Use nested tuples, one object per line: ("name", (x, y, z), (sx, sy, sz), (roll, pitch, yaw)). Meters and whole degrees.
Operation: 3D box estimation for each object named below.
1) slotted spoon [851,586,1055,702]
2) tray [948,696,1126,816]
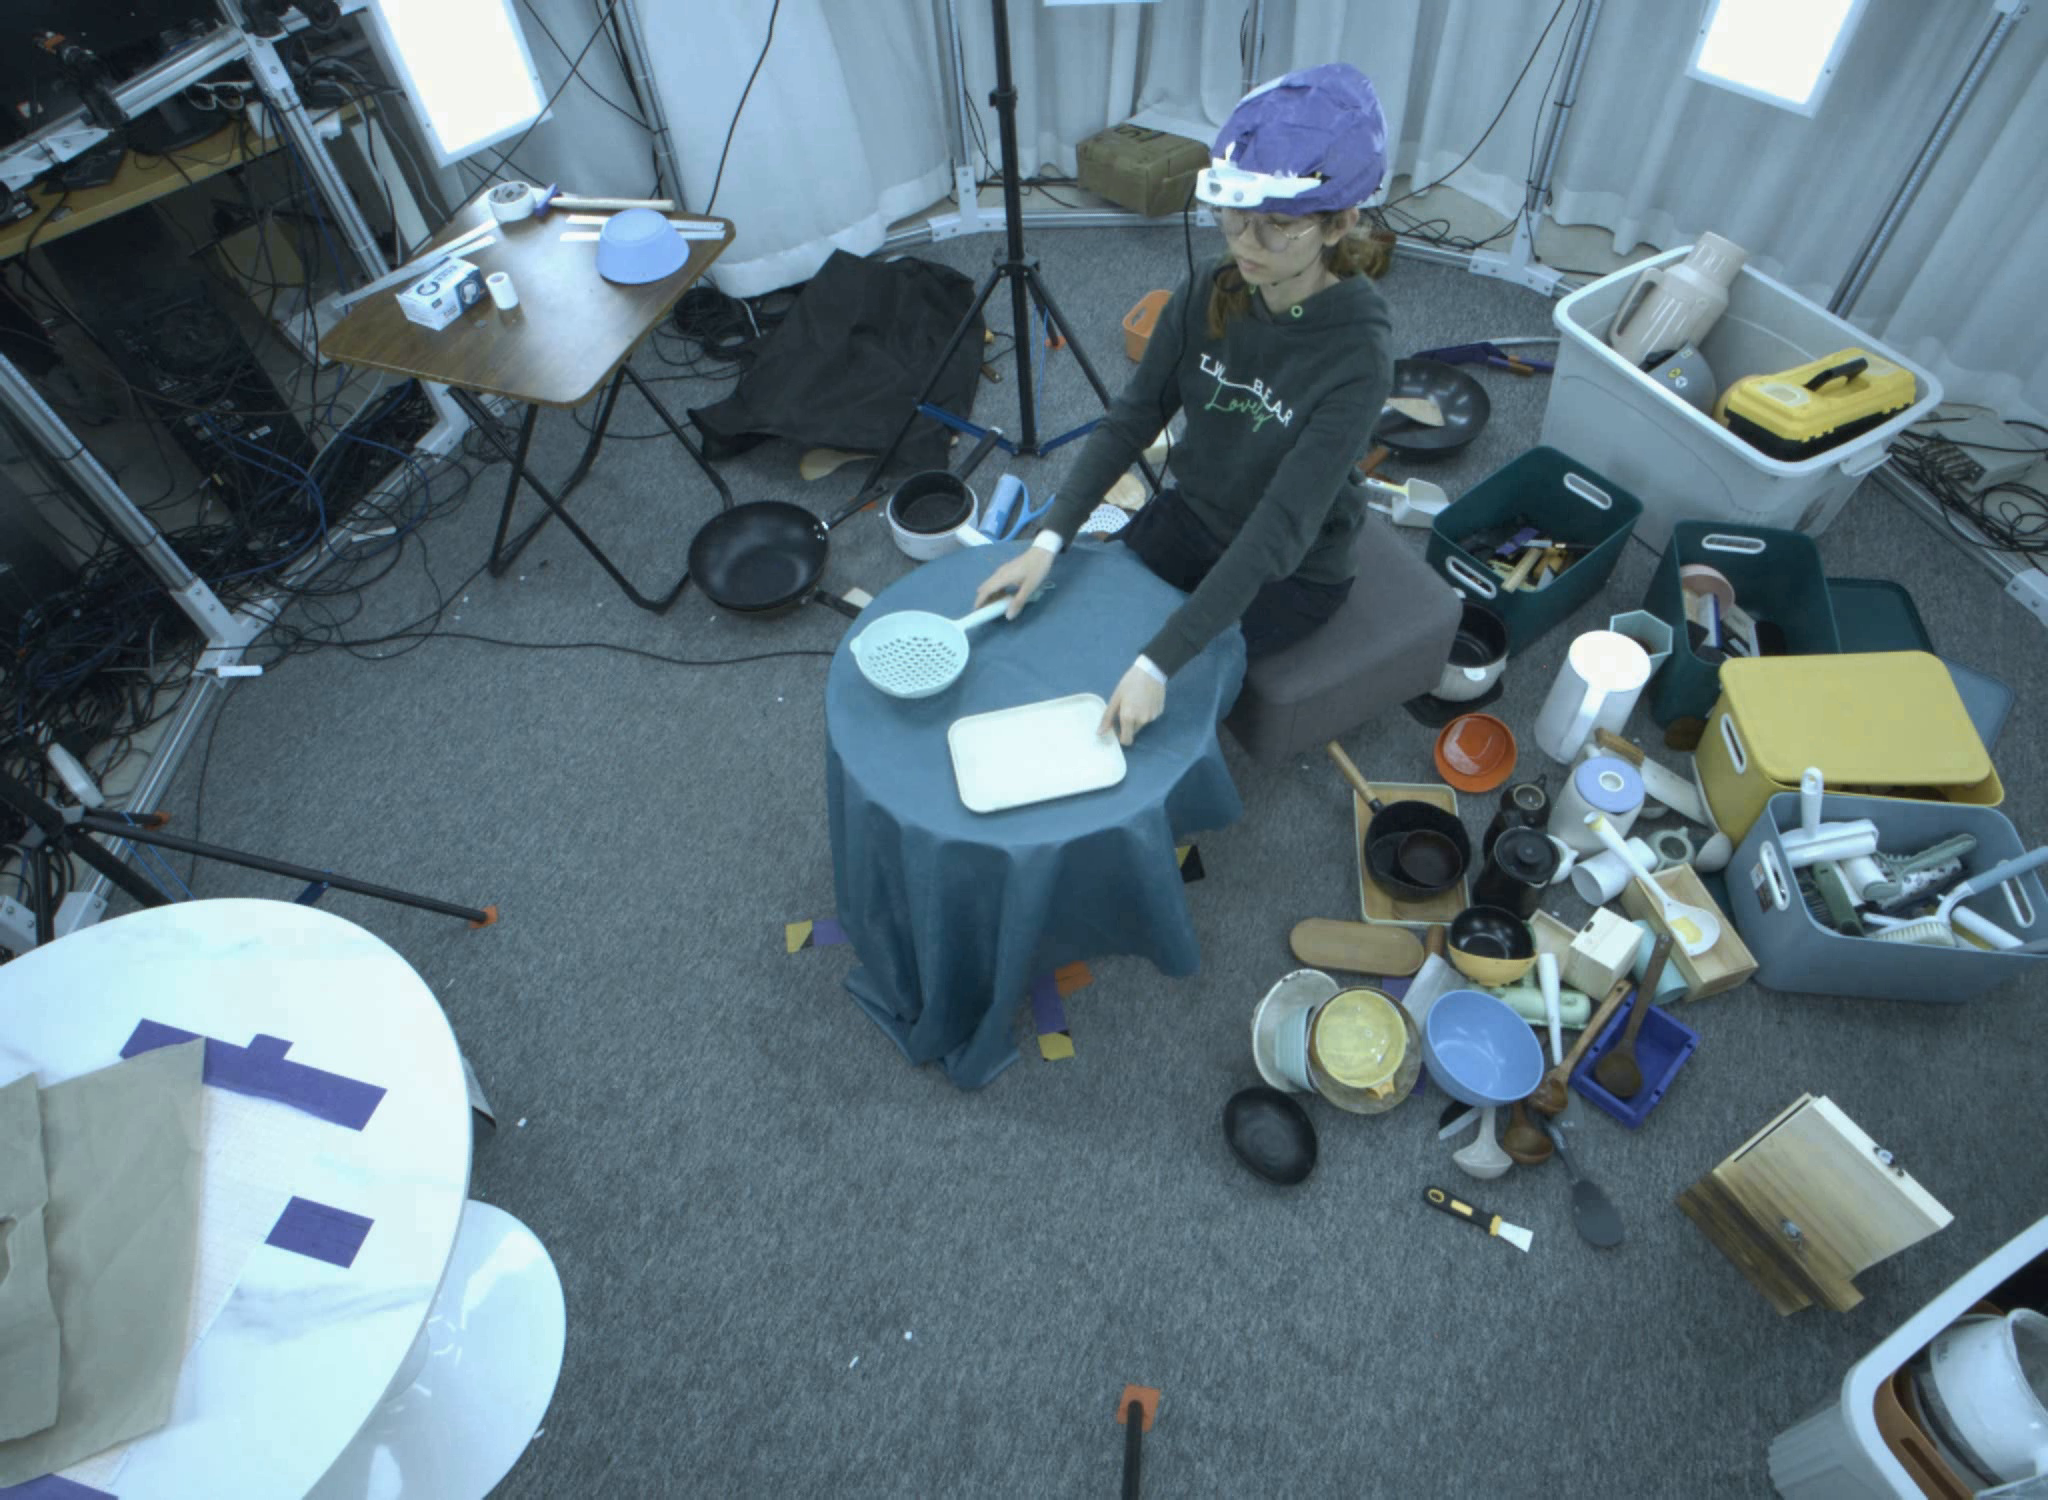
("slotted spoon", (-0.092, -0.183, 1.890), (0.361, 0.076, 0.166), (-35, 62, -21))
("tray", (0.018, 0.009, 1.781), (0.241, 0.017, 0.168), (-11, 56, -7))
